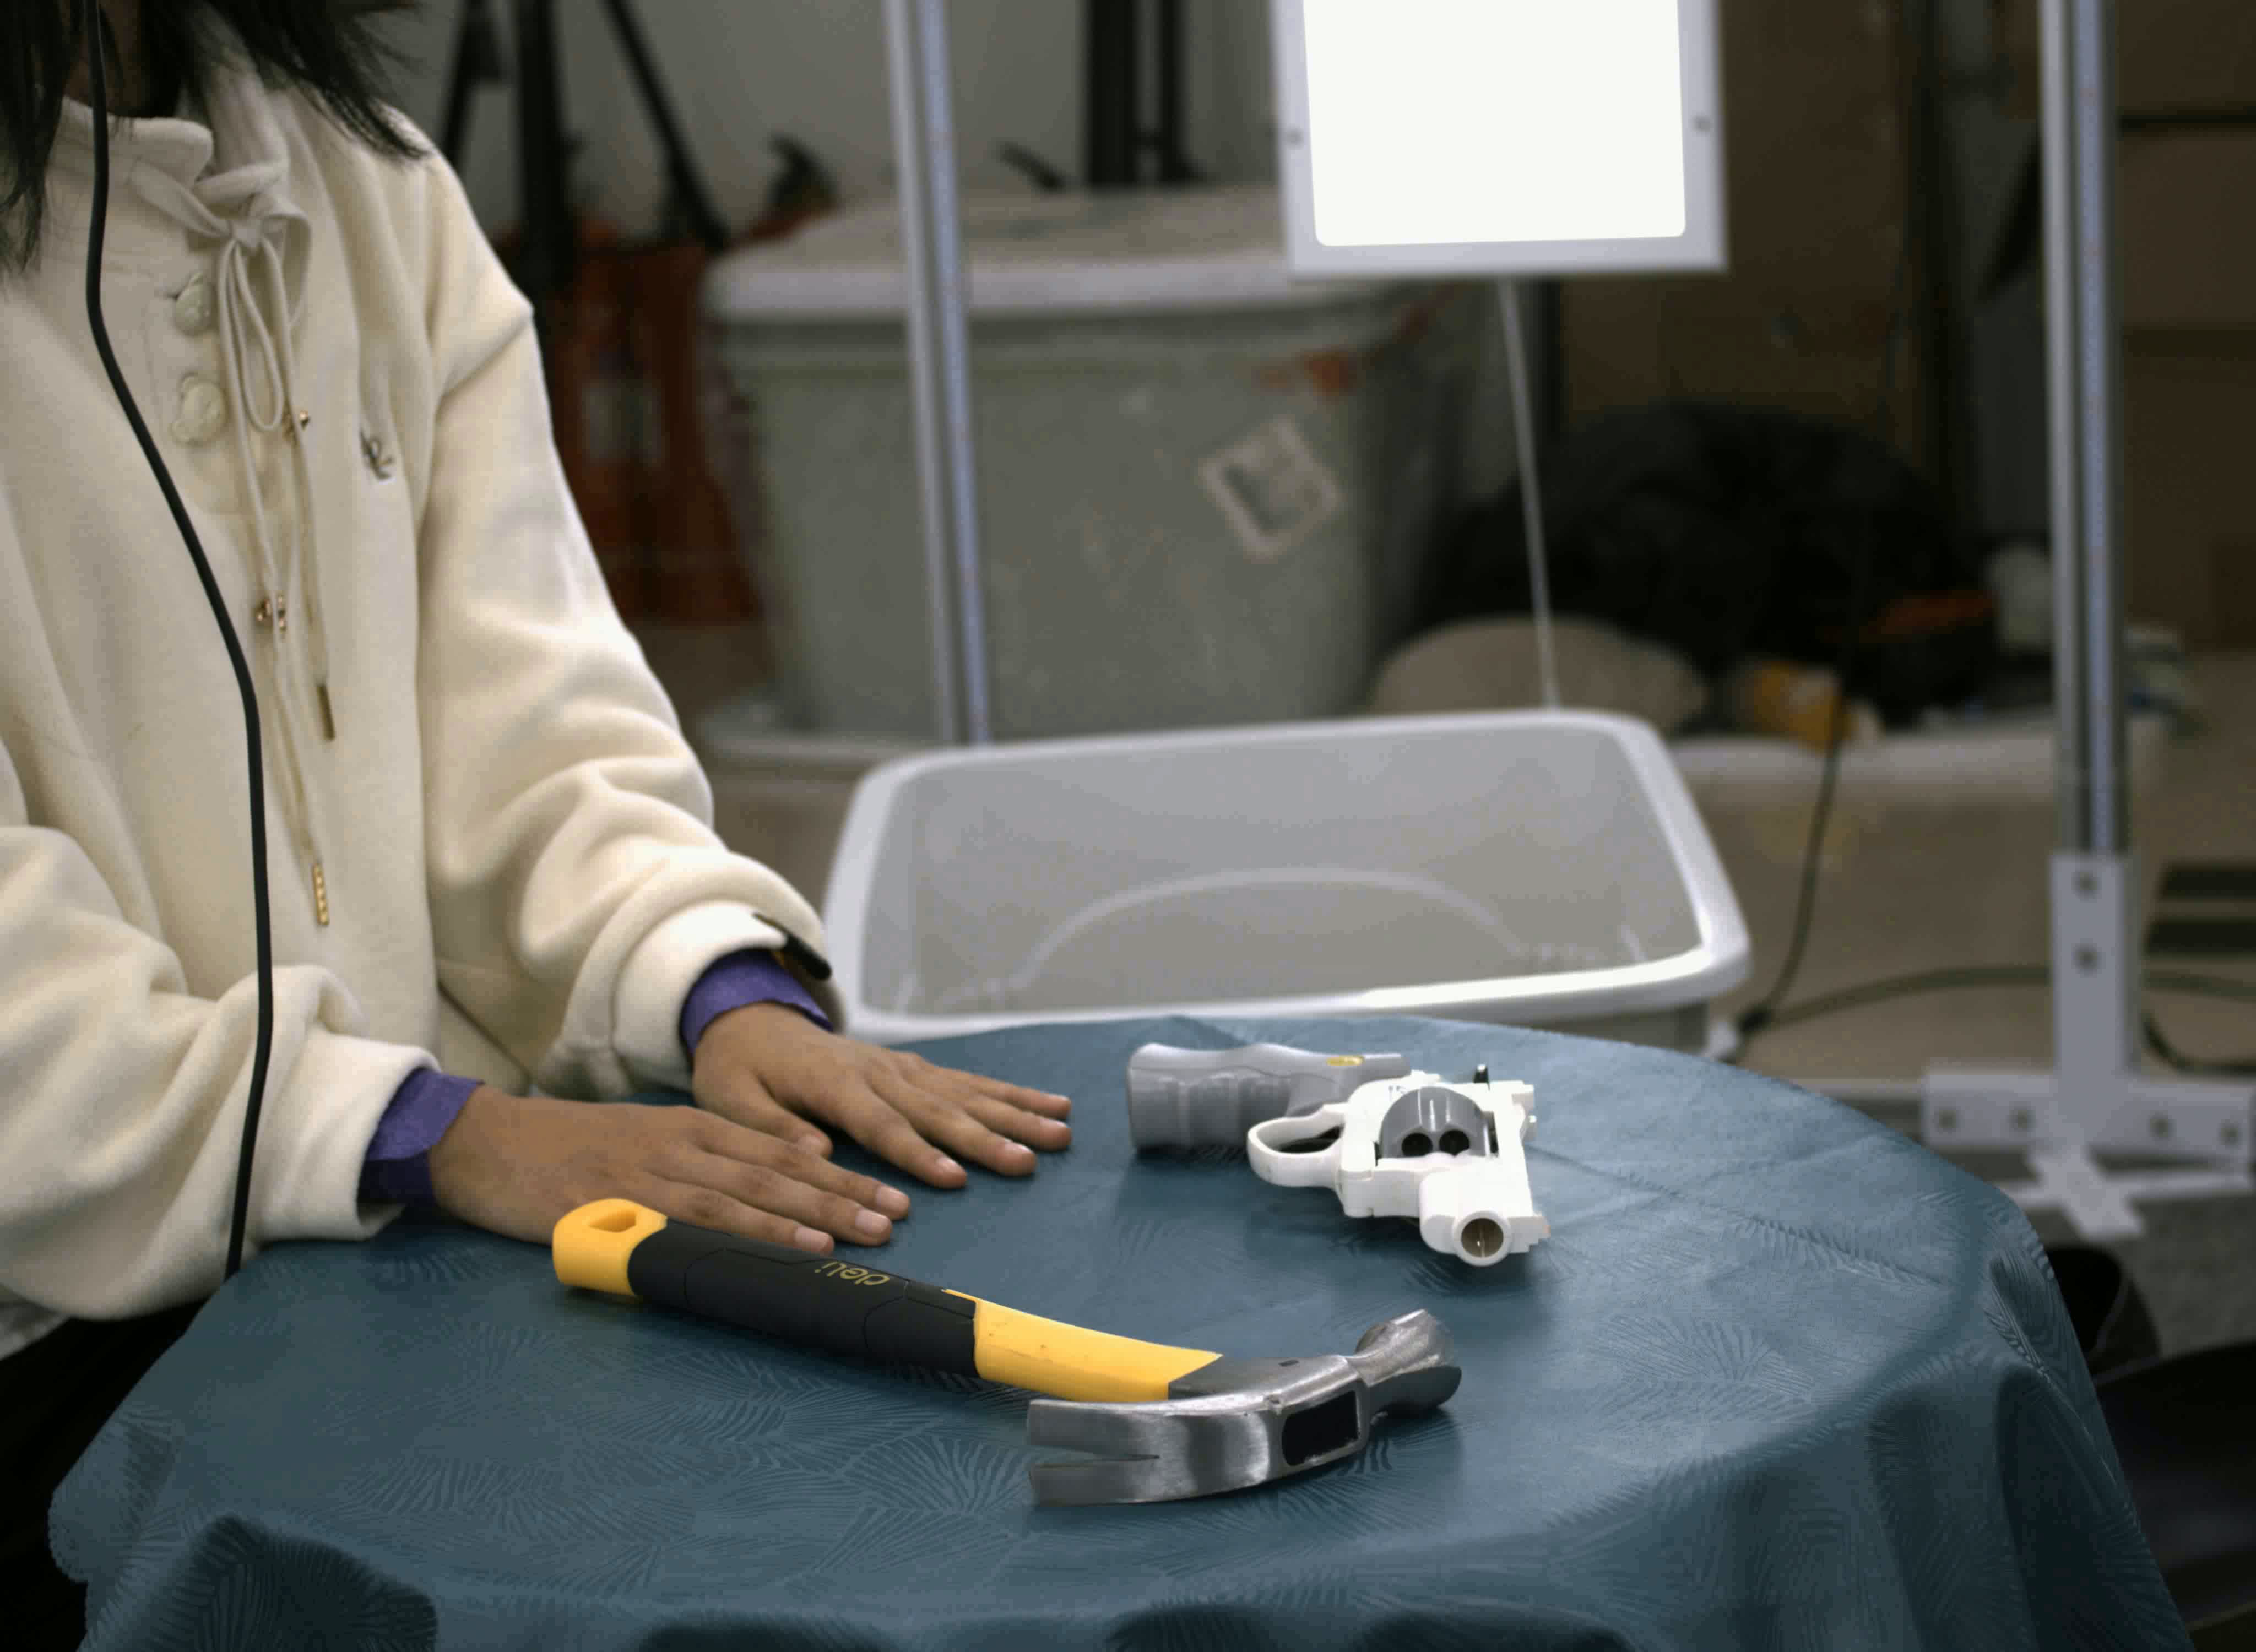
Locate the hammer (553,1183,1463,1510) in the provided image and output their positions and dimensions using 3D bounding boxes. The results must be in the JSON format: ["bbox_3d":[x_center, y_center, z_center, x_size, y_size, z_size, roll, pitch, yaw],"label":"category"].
[{"bbox_3d":[-0.062,0.154,1.733,0.128,0.032,0.346,-20,21,-41],"label":"hammer"}]

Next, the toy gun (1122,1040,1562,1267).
[{"bbox_3d":[0.070,0.109,1.862,0.141,0.039,0.208,-4,14,1],"label":"toy gun"}]
